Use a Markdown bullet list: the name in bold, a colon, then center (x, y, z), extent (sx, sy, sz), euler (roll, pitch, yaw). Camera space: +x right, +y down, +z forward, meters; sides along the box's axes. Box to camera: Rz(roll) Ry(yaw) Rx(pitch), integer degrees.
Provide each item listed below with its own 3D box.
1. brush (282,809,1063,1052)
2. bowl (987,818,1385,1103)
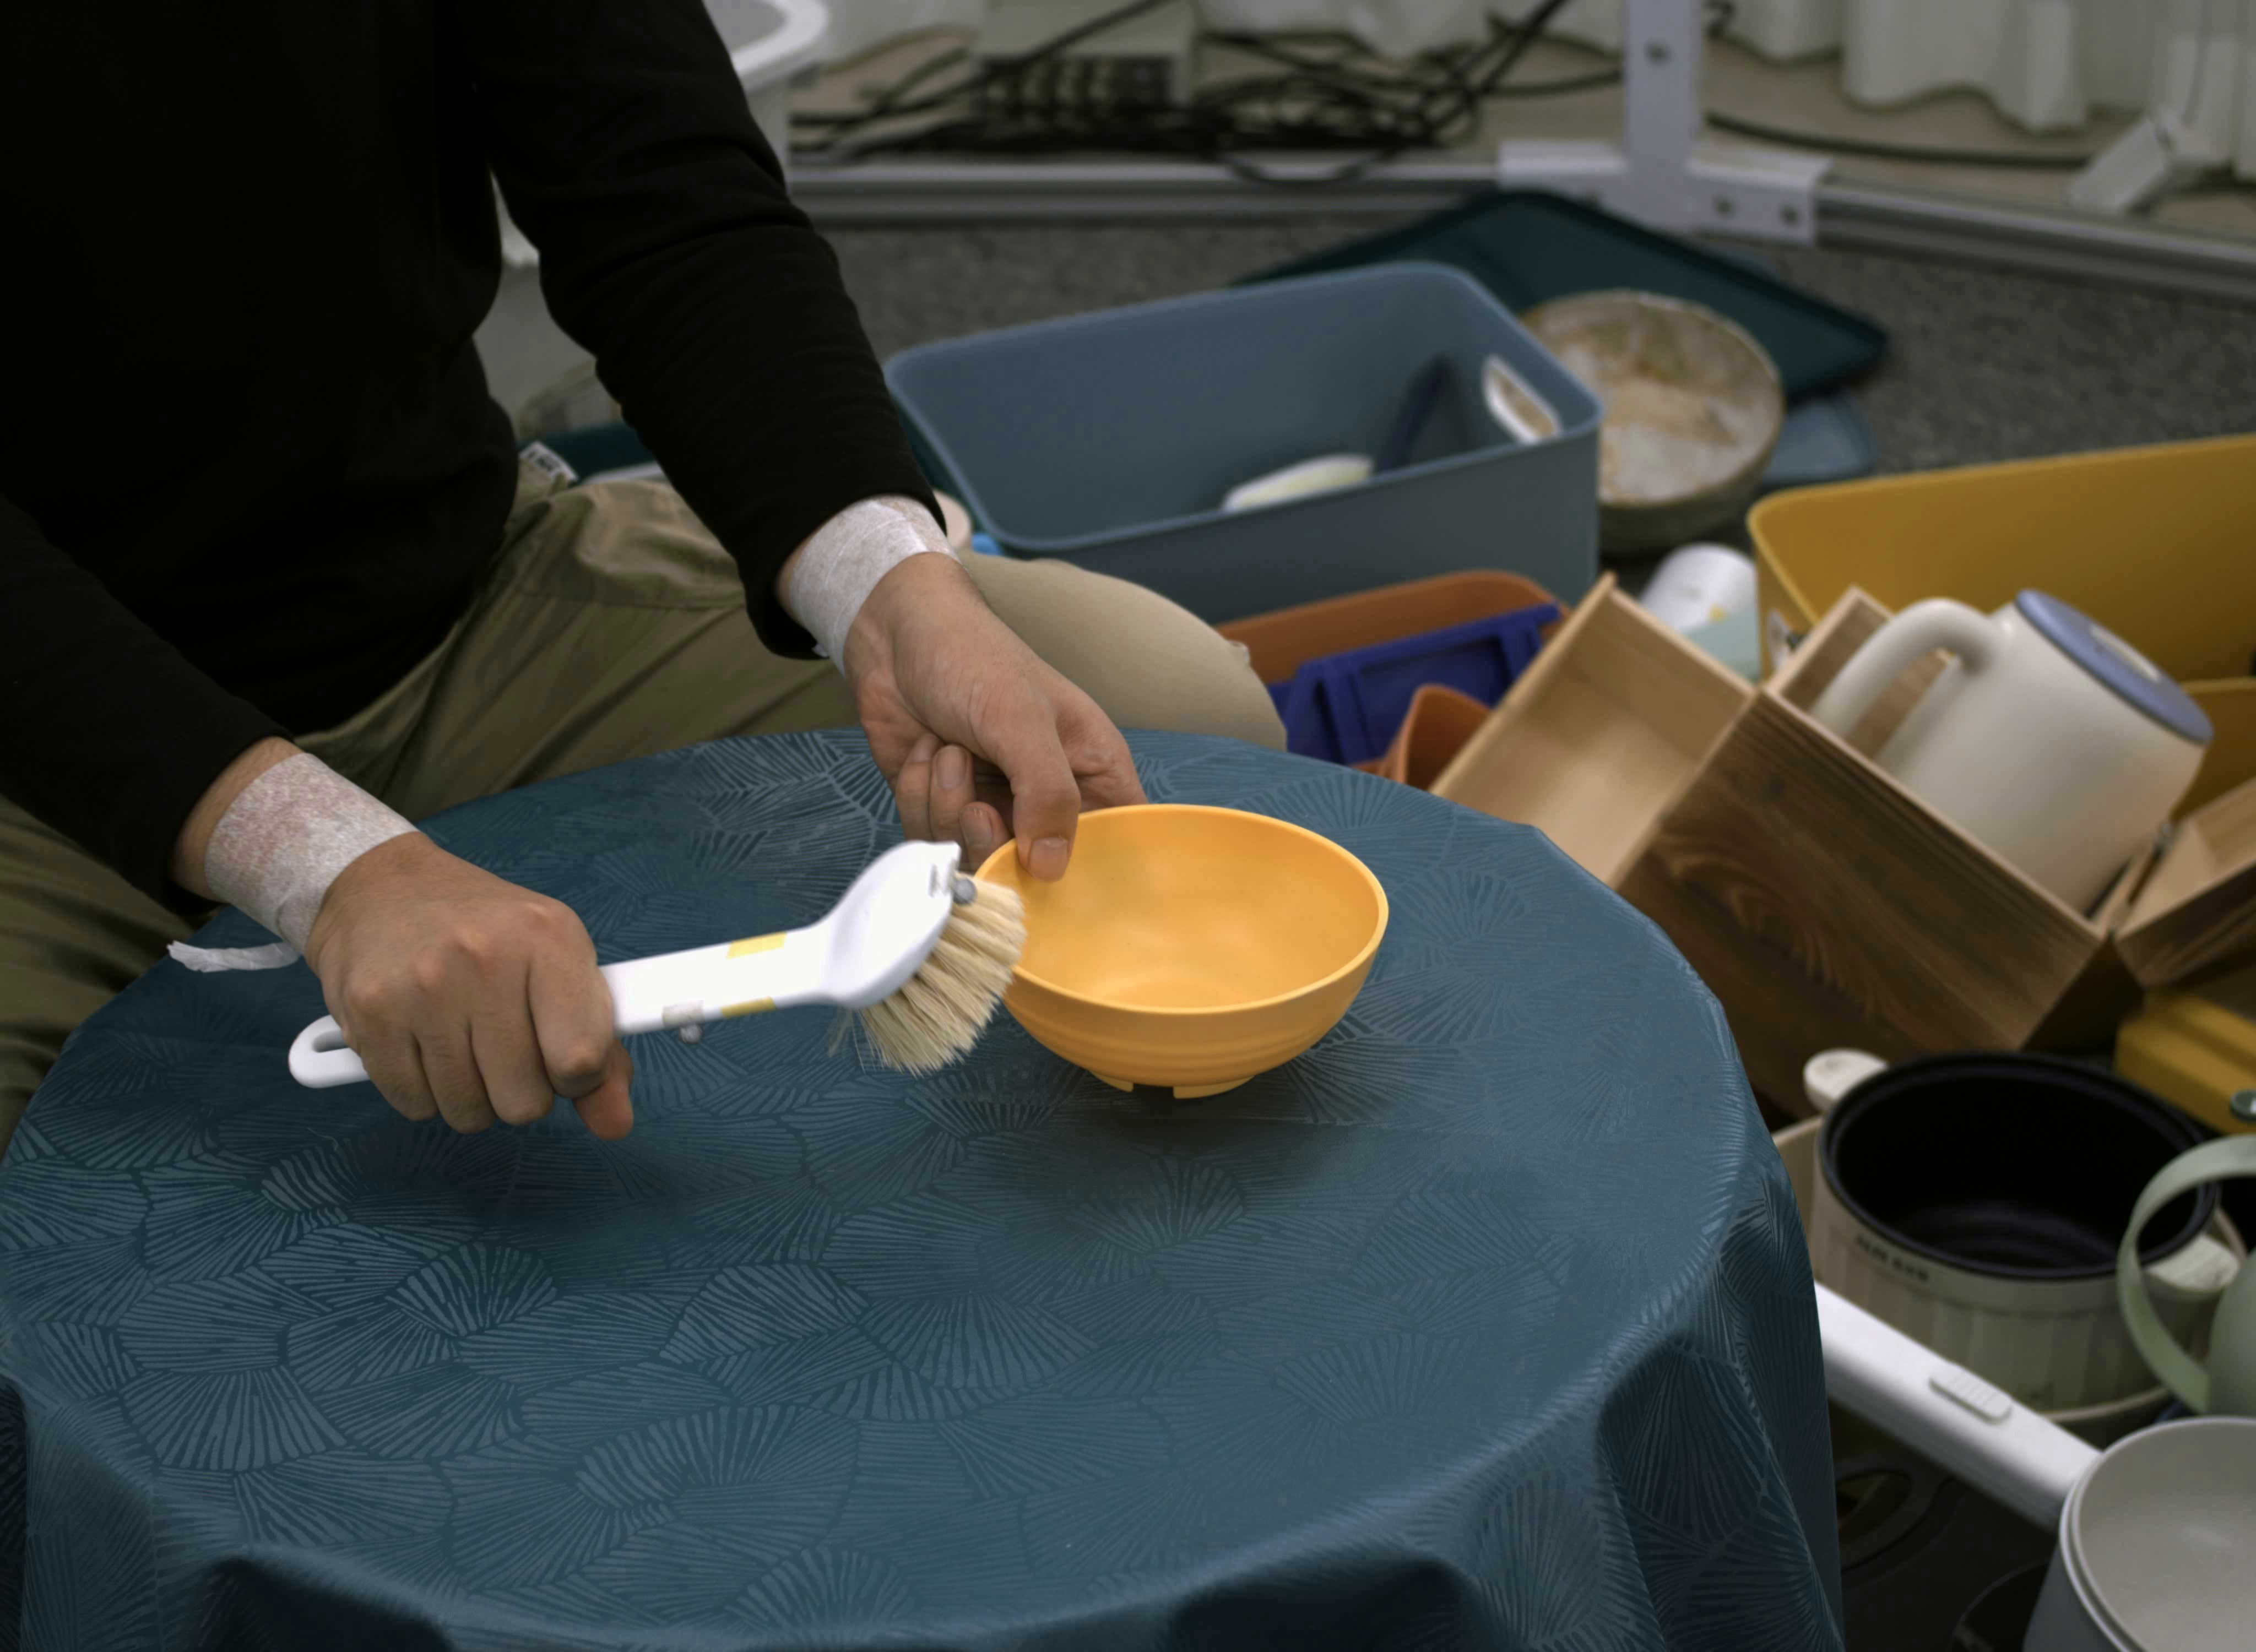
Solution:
- **brush**: center (-0.149, 0.054, 1.868), extent (0.264, 0.055, 0.070), euler (-15, 32, 10)
- **bowl**: center (0.015, 0.054, 1.924), extent (0.144, 0.059, 0.147), euler (1, 26, 0)
